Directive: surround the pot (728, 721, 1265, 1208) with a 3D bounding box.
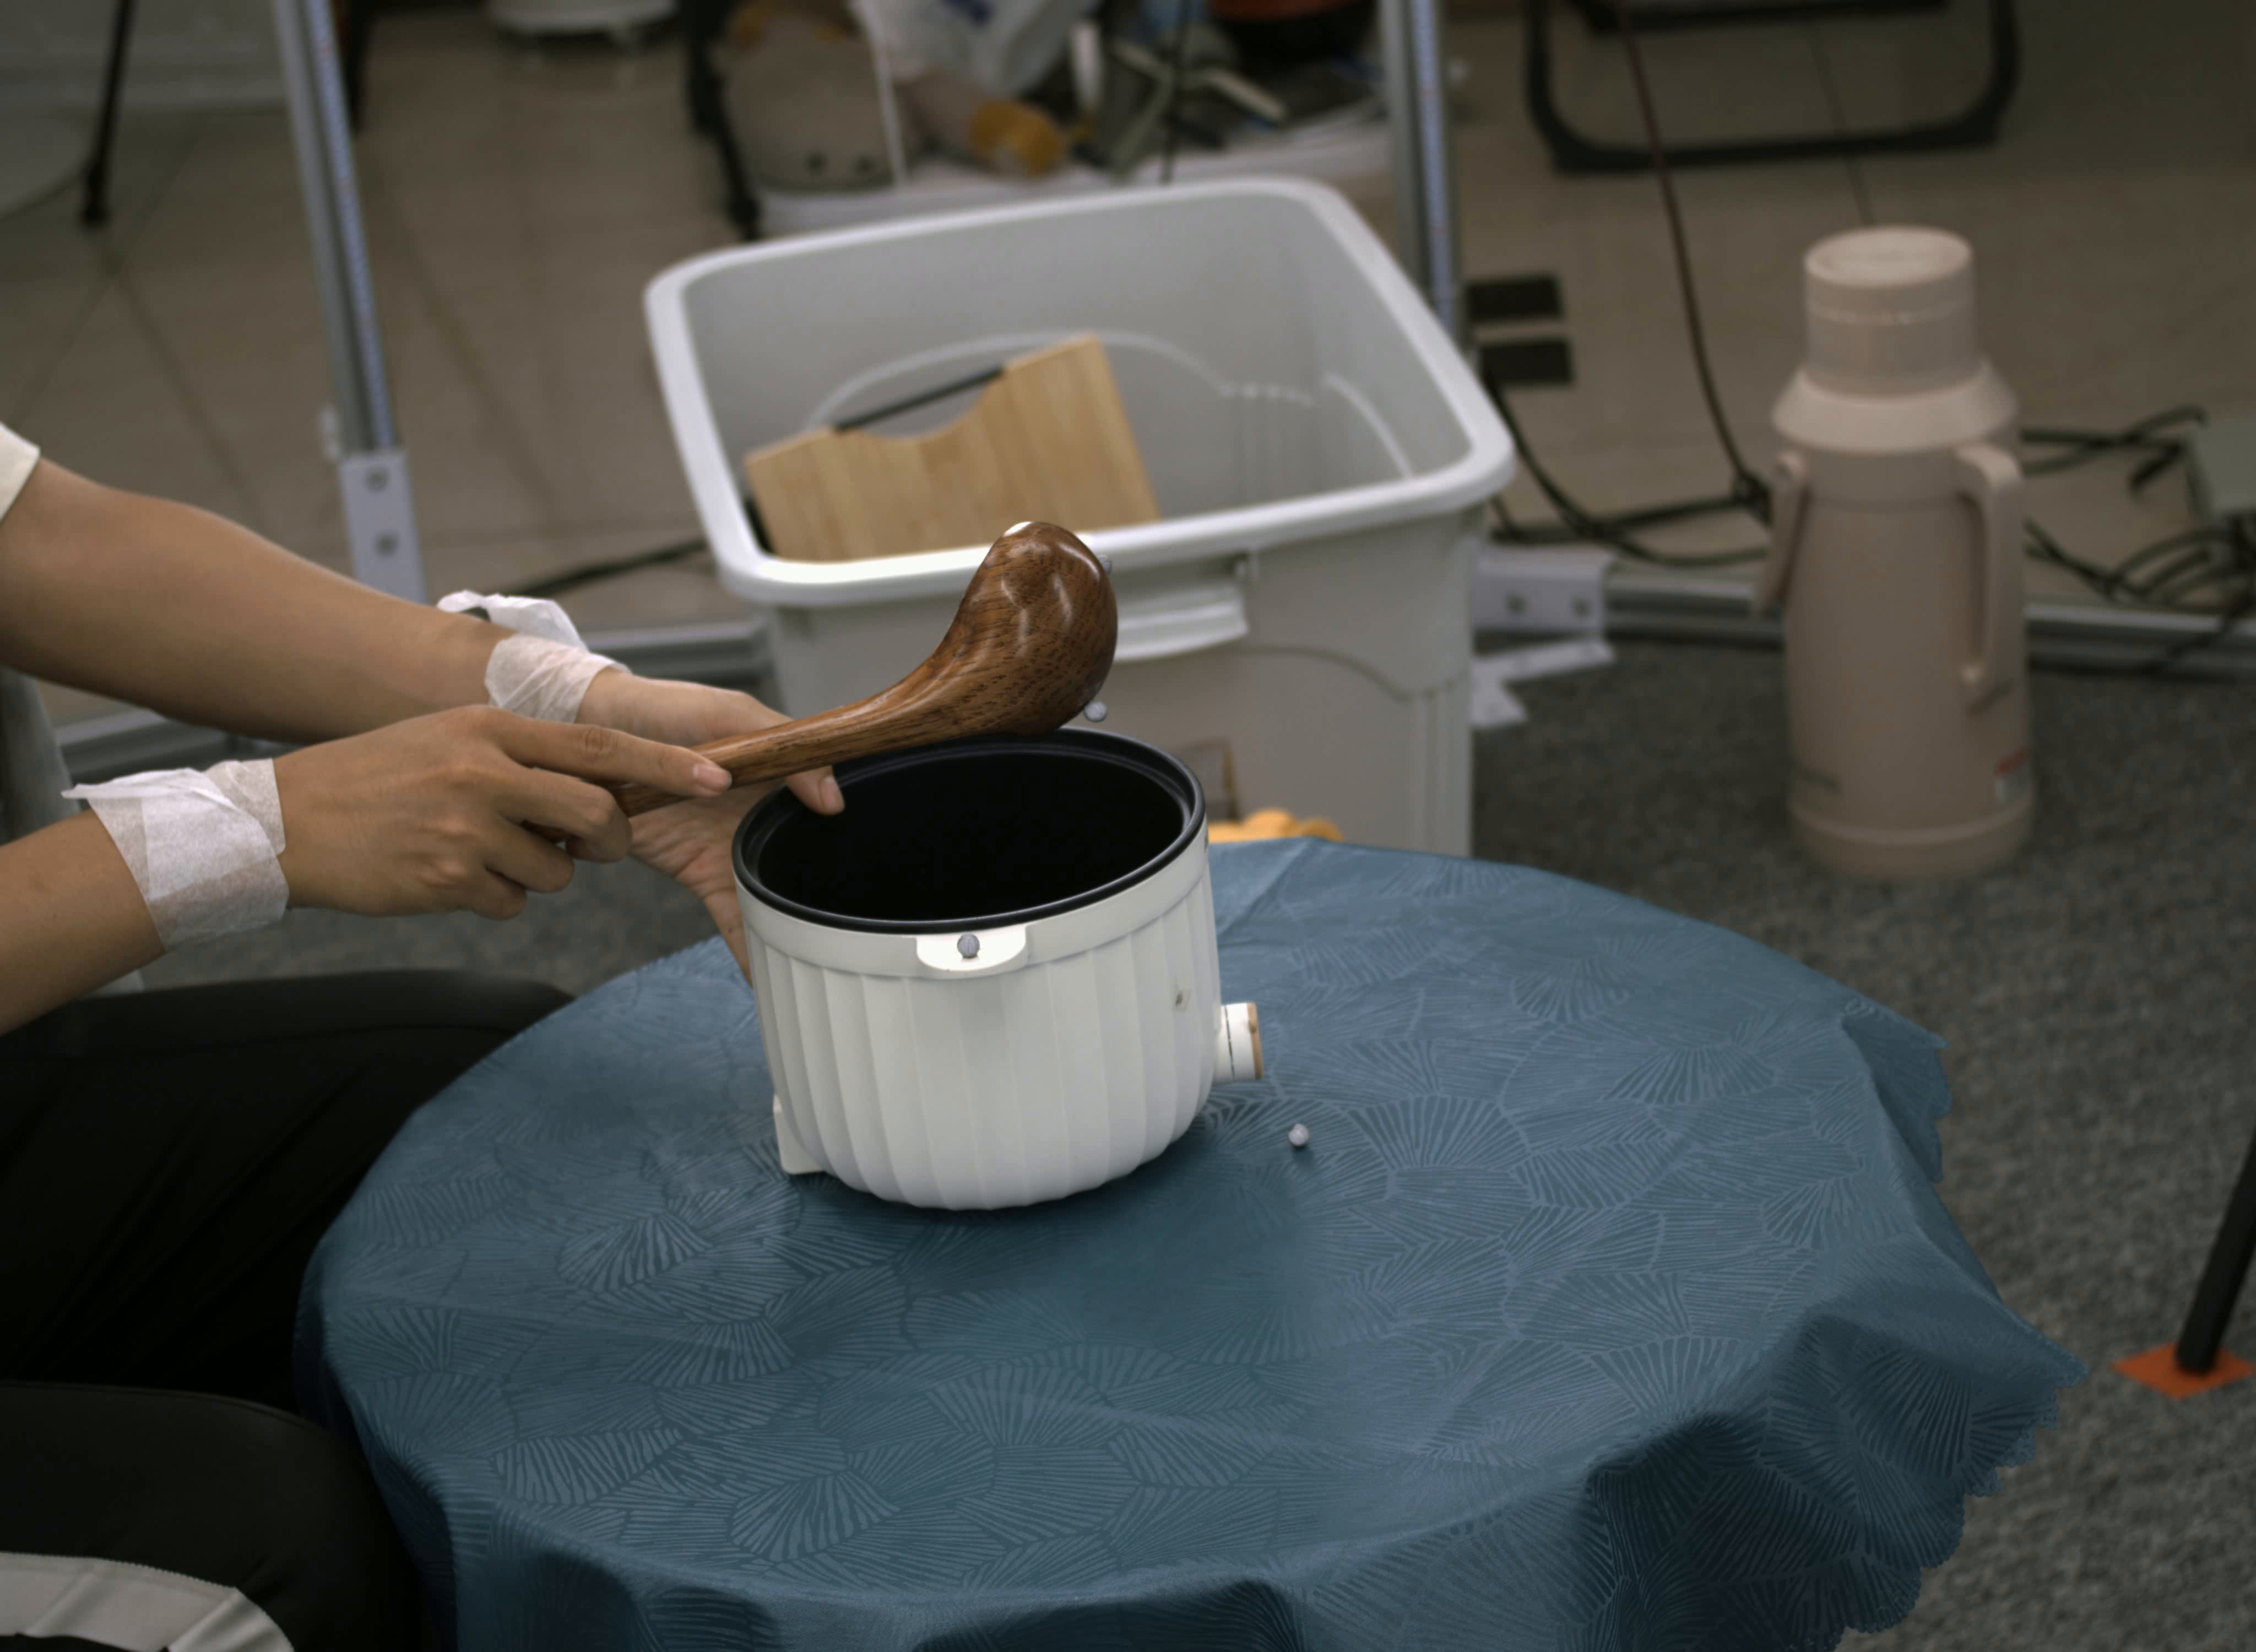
[{"bbox_3d":[-0.049,0.056,2.174,0.190,0.145,0.237,-9,26,2],"label":"pot"}]

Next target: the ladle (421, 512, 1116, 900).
[{"bbox_3d":[-0.135,-0.043,2.113,0.274,0.083,0.075,-18,31,4],"label":"ladle"}]
